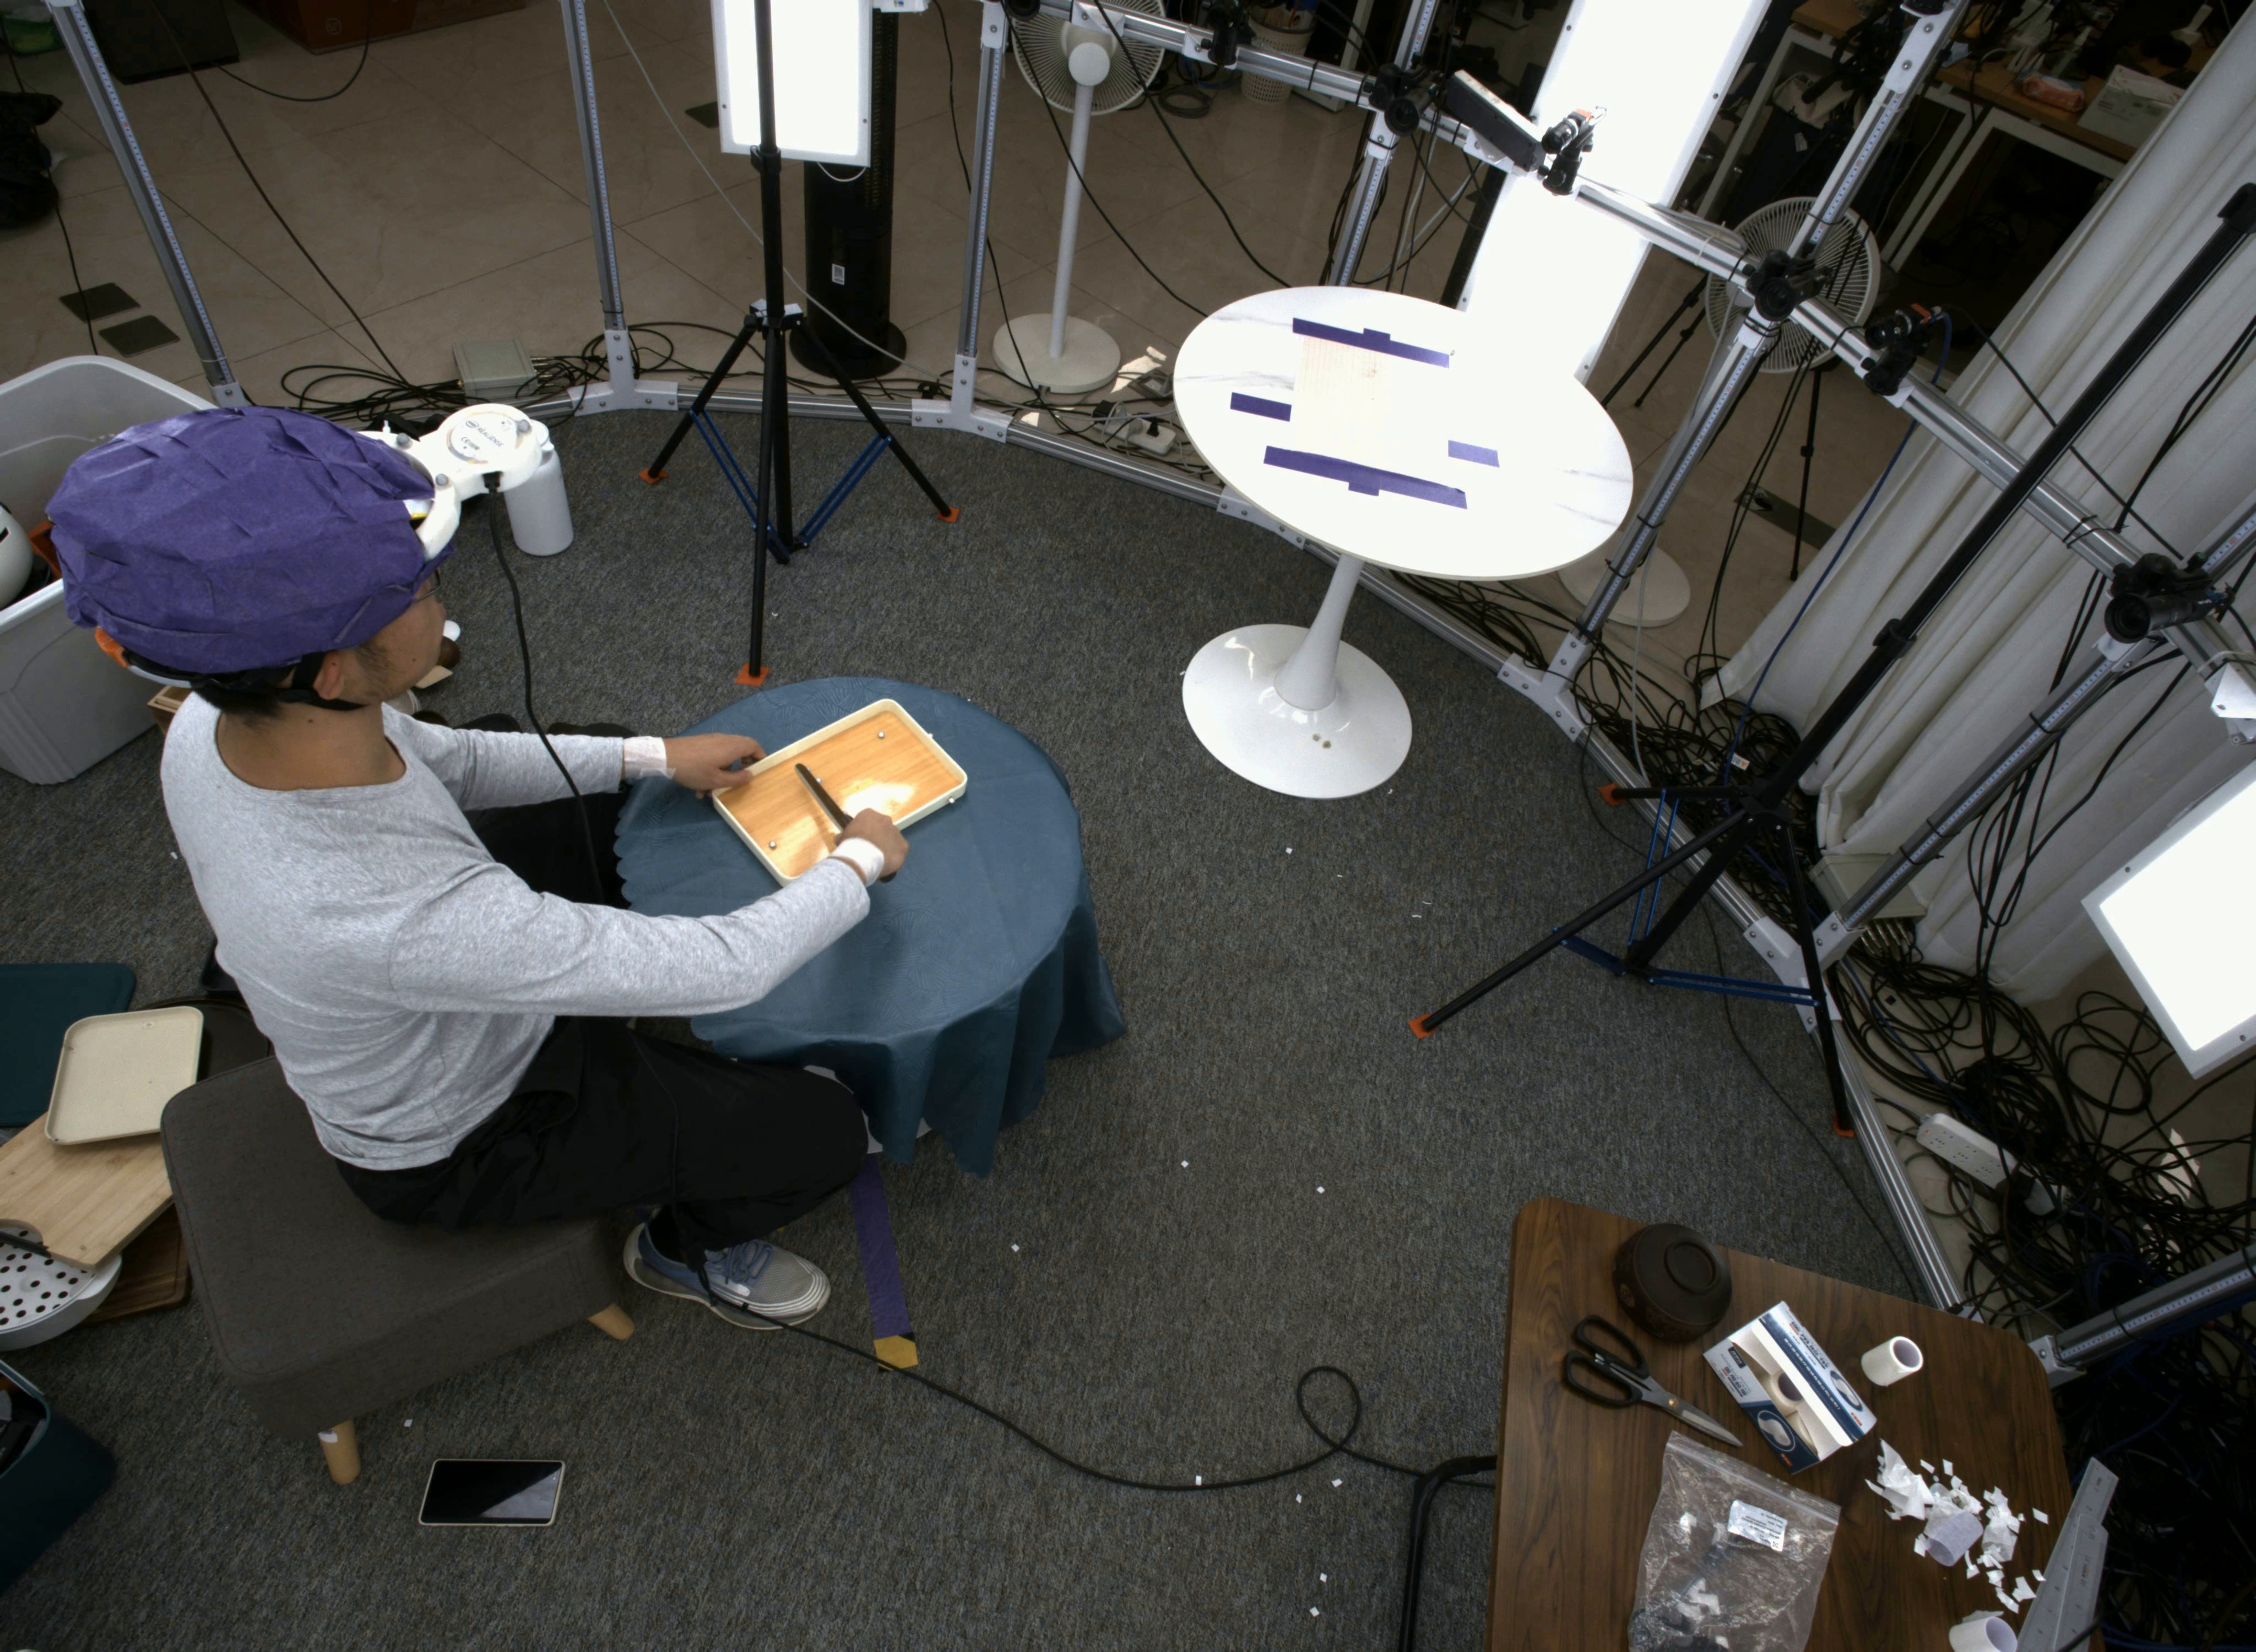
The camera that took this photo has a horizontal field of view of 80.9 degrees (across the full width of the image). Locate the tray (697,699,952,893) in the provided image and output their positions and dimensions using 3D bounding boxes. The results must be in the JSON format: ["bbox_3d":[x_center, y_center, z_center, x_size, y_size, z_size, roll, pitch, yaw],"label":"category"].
[{"bbox_3d":[-0.407,-0.047,1.756,0.301,0.028,0.187,-34,69,-32],"label":"tray"}]

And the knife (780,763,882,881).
[{"bbox_3d":[-0.391,-0.010,1.675,0.020,0.052,0.278,-24,45,-29],"label":"knife"}]
